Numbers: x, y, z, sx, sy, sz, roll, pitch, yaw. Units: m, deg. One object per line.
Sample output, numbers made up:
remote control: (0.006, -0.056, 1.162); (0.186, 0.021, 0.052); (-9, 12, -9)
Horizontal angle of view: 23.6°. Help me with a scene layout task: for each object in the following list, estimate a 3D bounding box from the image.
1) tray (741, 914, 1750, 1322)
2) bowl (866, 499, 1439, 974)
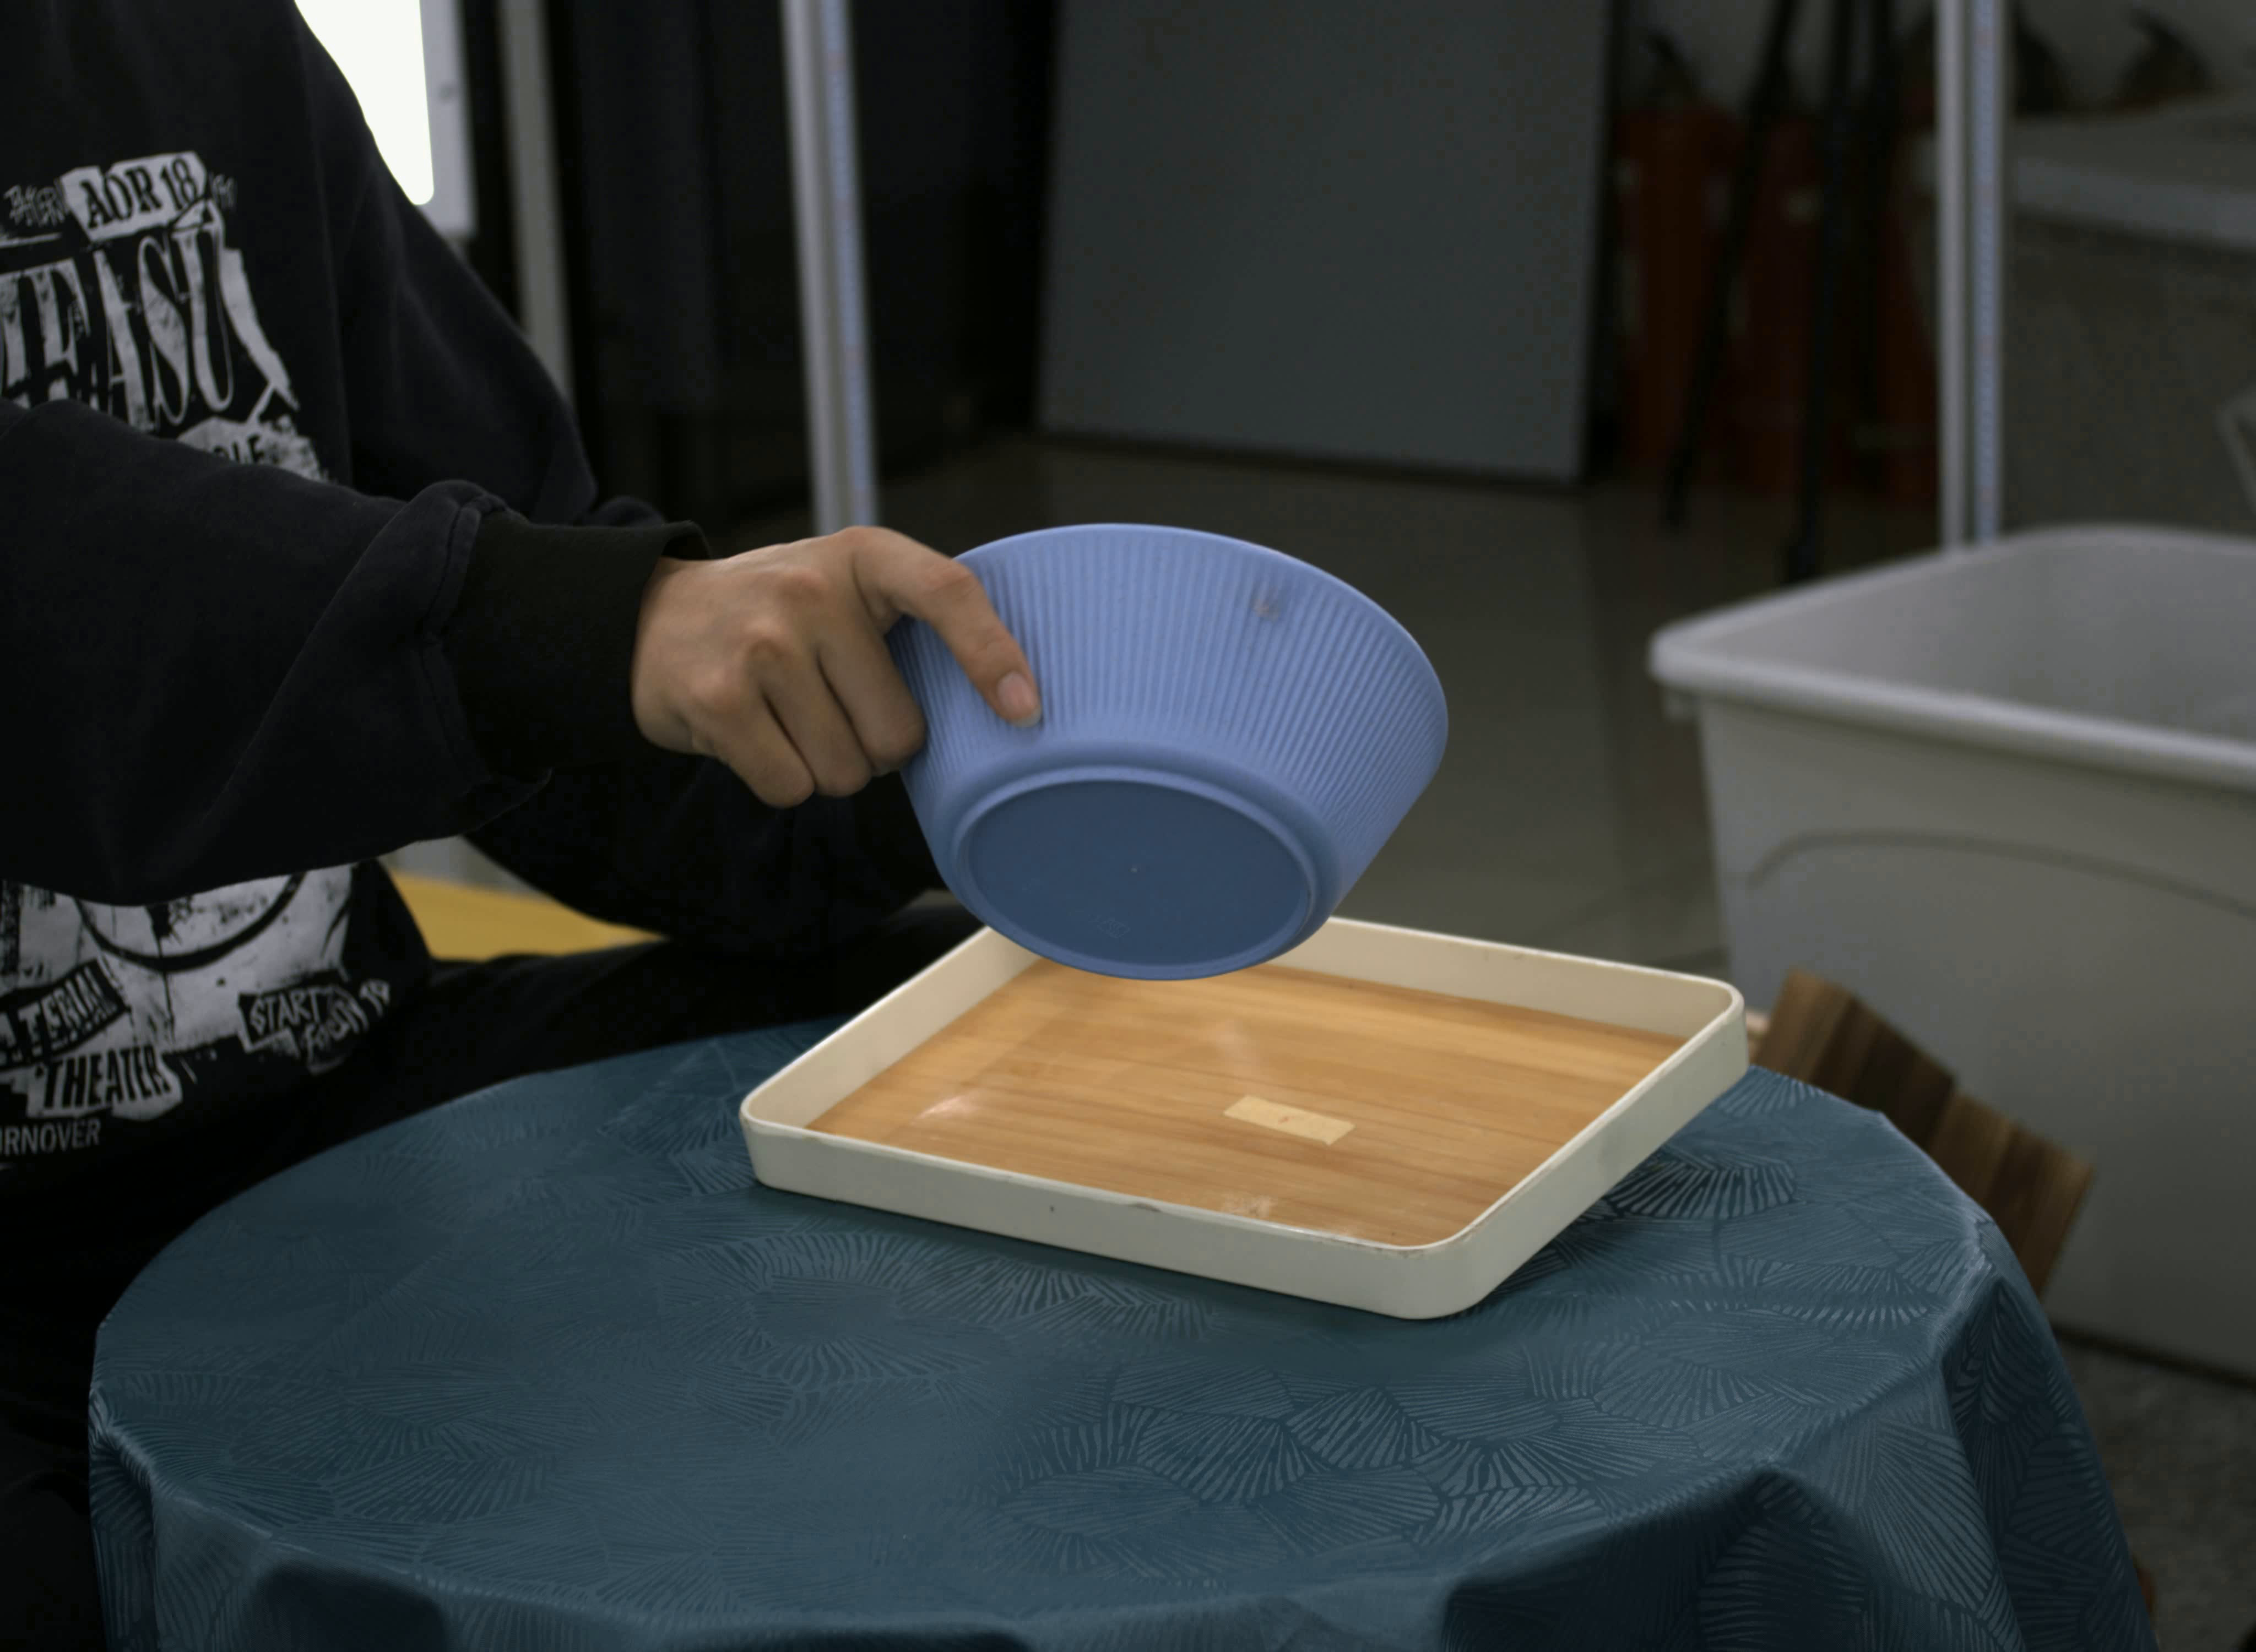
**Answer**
tray: (0.037, 0.086, 1.772); (0.302, 0.027, 0.189); (8, 31, 39)
bowl: (0.003, -0.015, 1.601); (0.175, 0.175, 0.071); (0, 54, 14)
